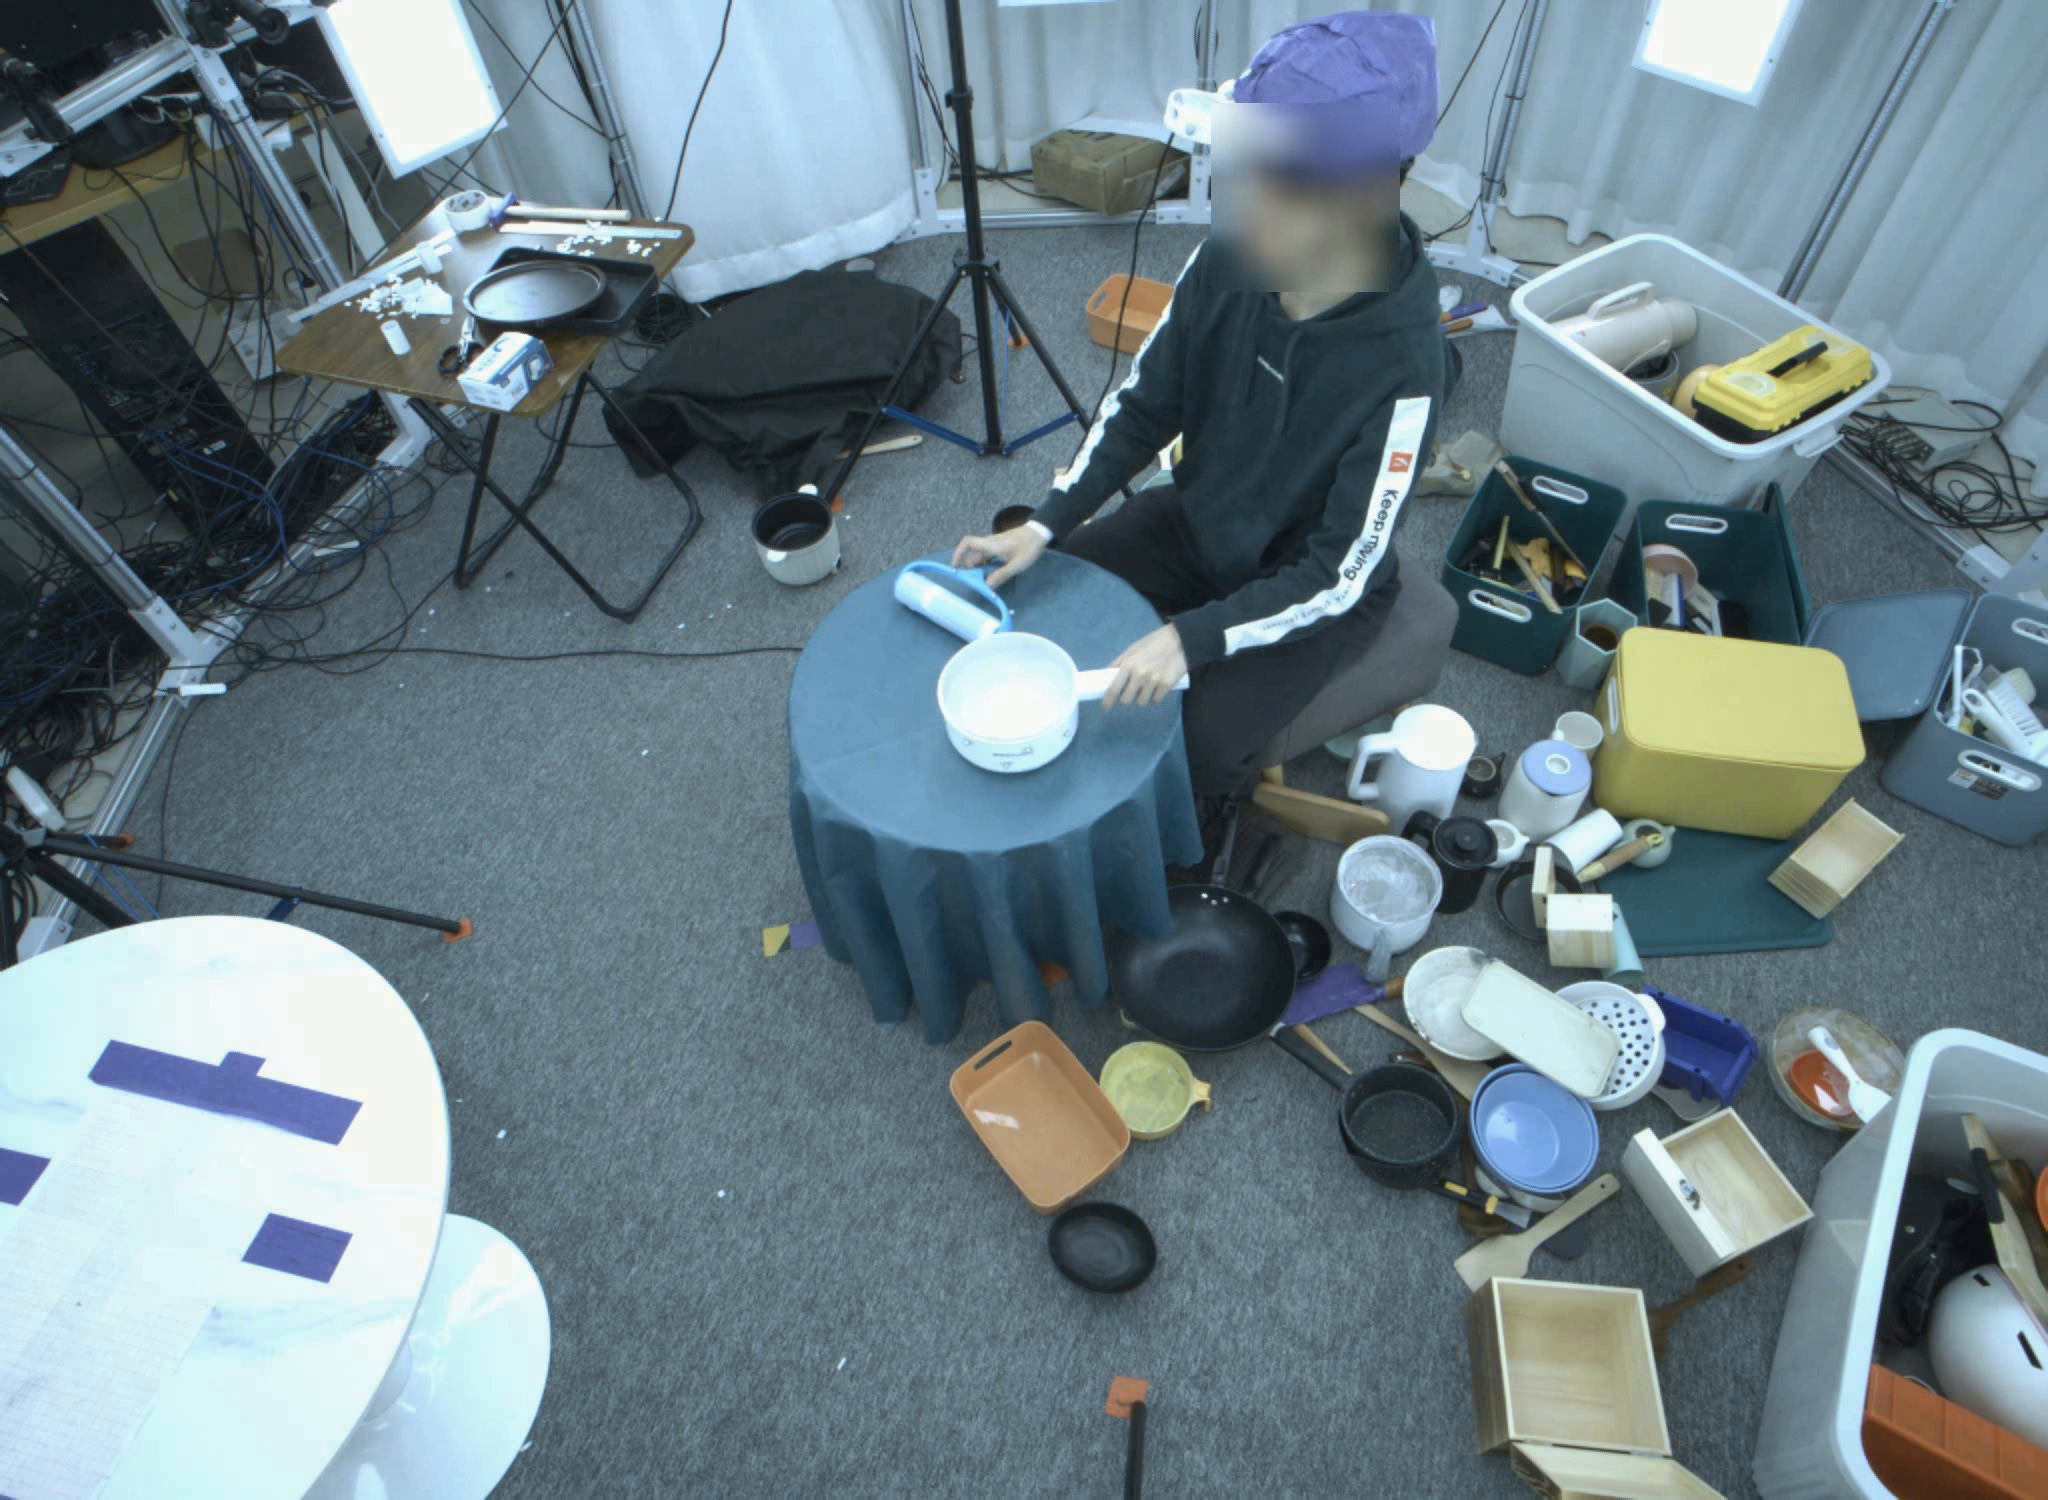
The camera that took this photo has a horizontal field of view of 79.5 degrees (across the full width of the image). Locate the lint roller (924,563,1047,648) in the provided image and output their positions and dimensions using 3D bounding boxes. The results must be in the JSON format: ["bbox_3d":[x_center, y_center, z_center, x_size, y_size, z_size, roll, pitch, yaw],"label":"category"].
[{"bbox_3d":[-0.030,-0.251,1.927,0.225,0.069,0.181,30,62,23],"label":"lint roller"}]

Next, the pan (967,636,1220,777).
[{"bbox_3d":[0.099,-0.063,1.763,0.355,0.103,0.199,-3,54,-1],"label":"pan"}]
